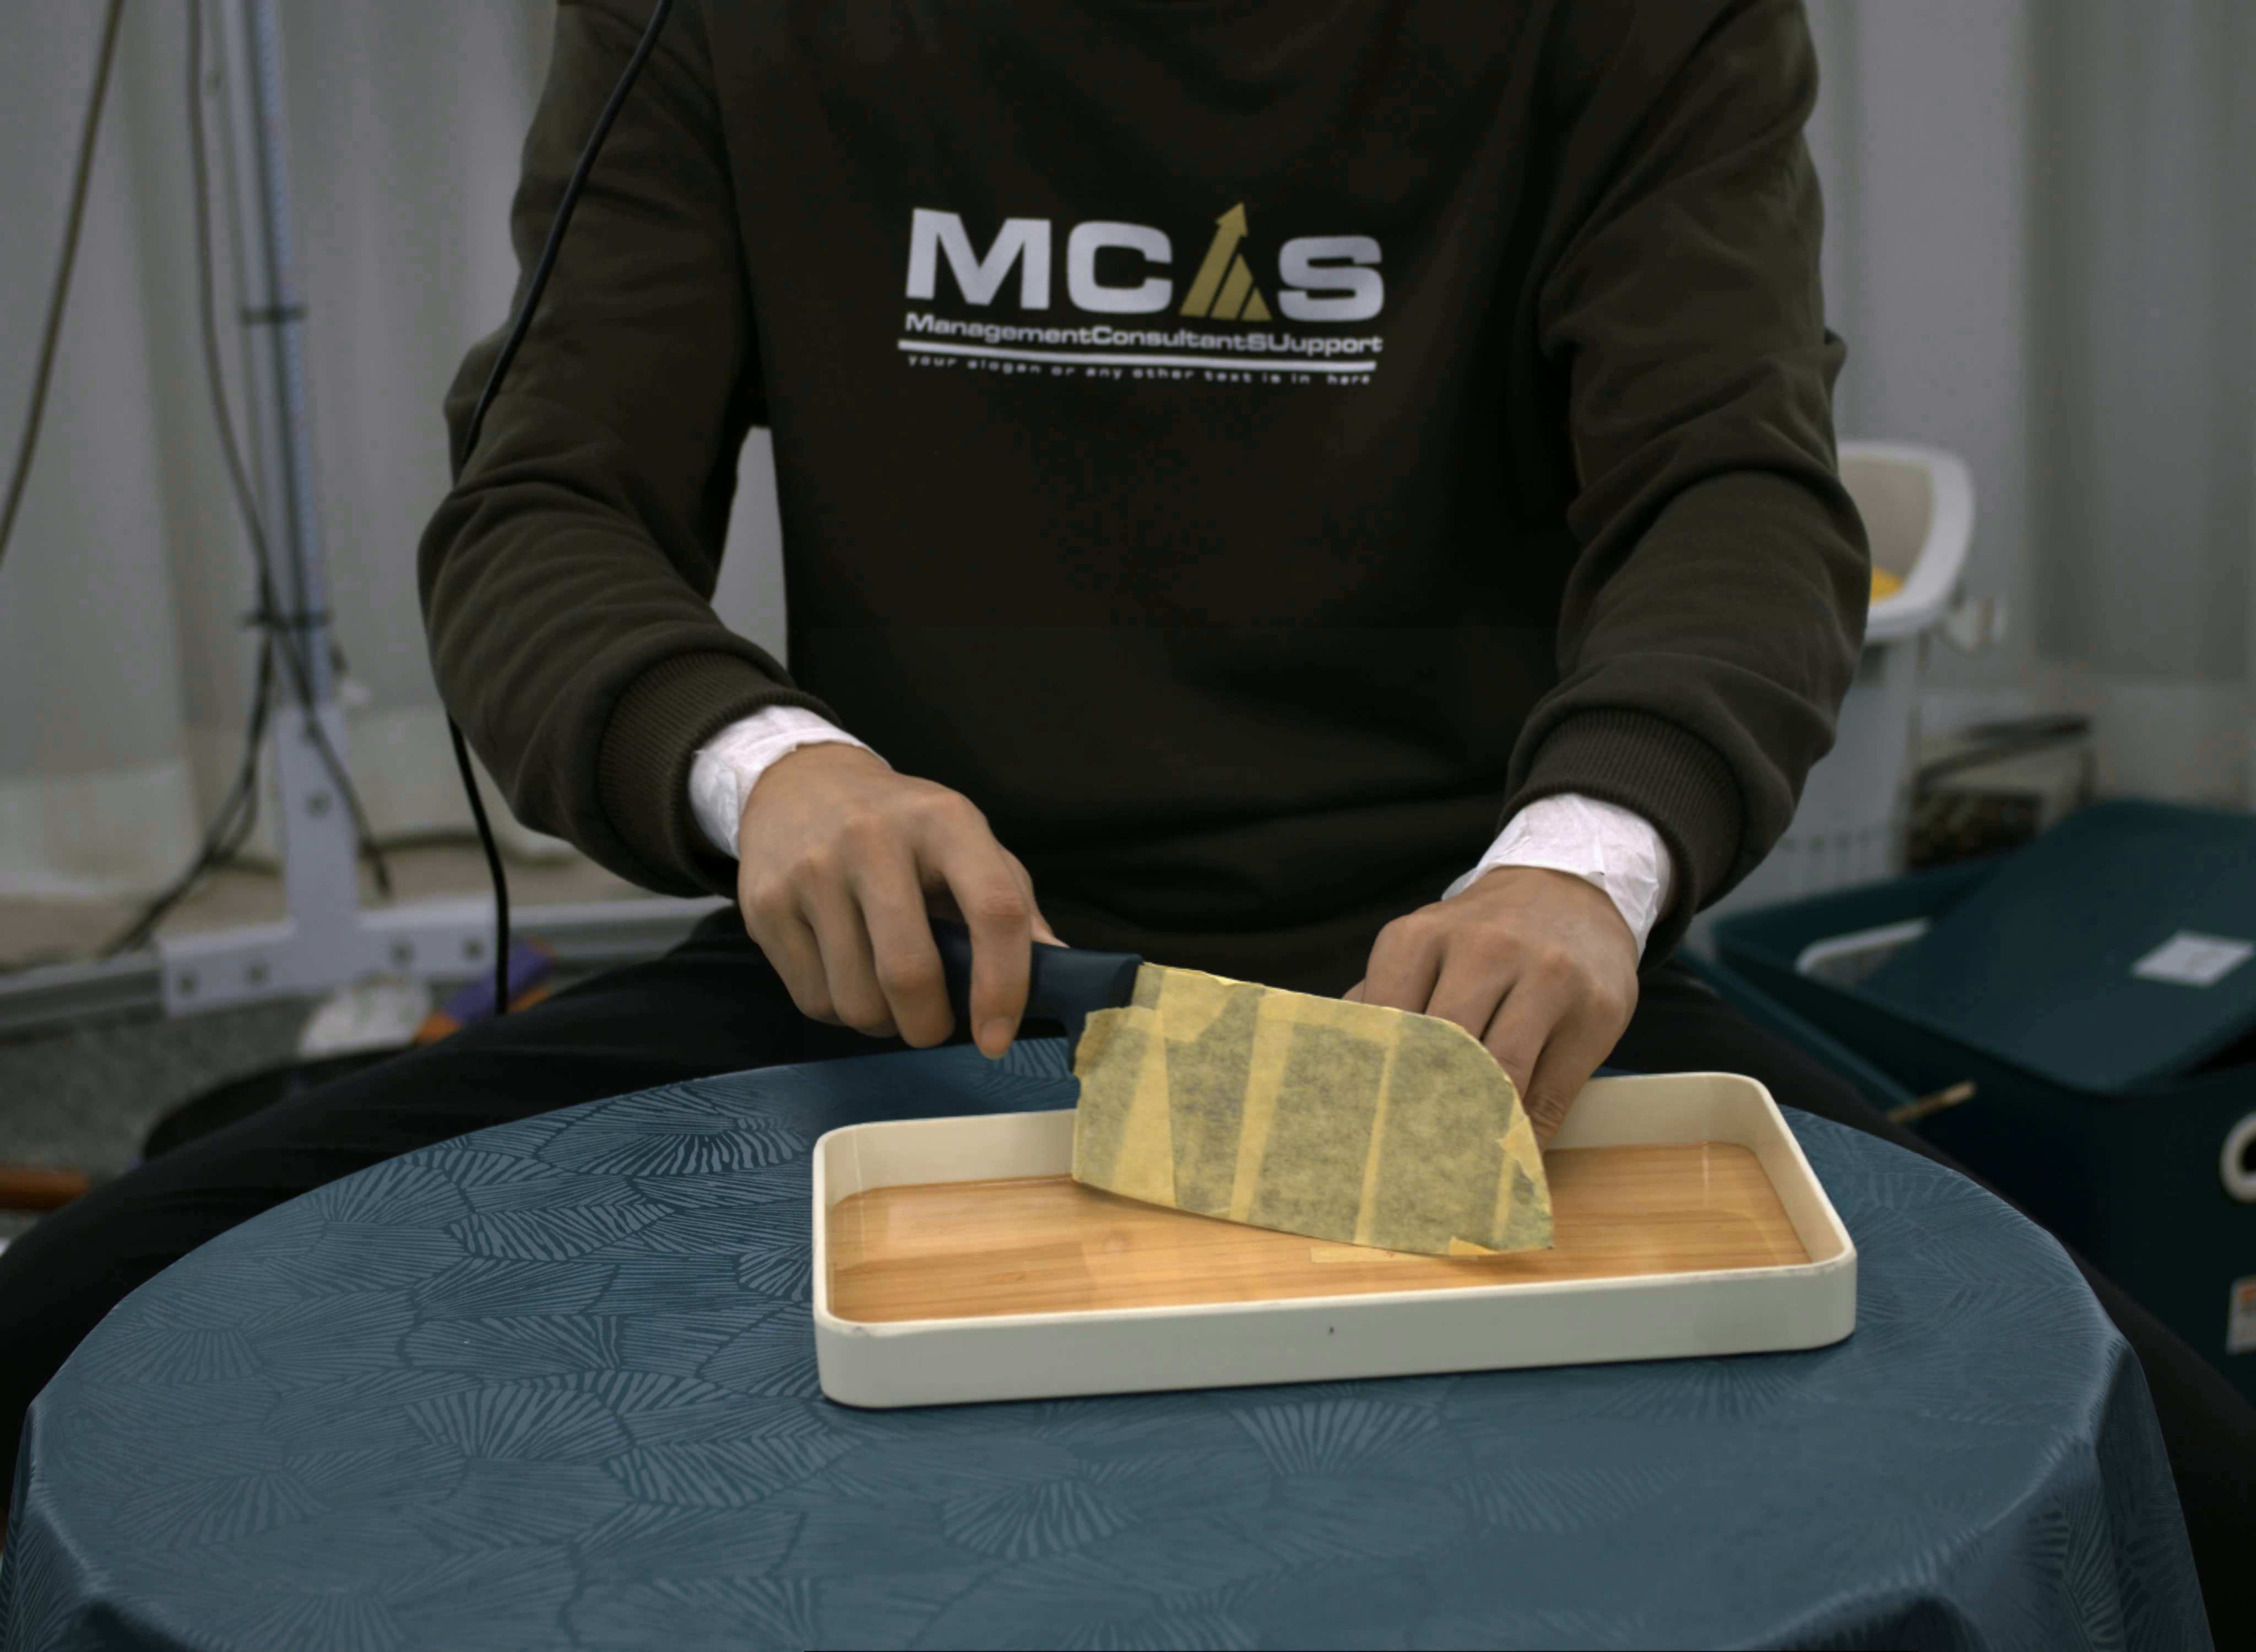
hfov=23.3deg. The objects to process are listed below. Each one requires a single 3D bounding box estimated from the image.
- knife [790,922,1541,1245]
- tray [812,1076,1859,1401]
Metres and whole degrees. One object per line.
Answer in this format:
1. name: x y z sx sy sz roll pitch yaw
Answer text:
1. knife: 0.007 0.077 1.686 0.291 0.081 0.027 13 -1 36
2. tray: 0.056 0.121 1.631 0.299 0.027 0.193 -3 14 -2
